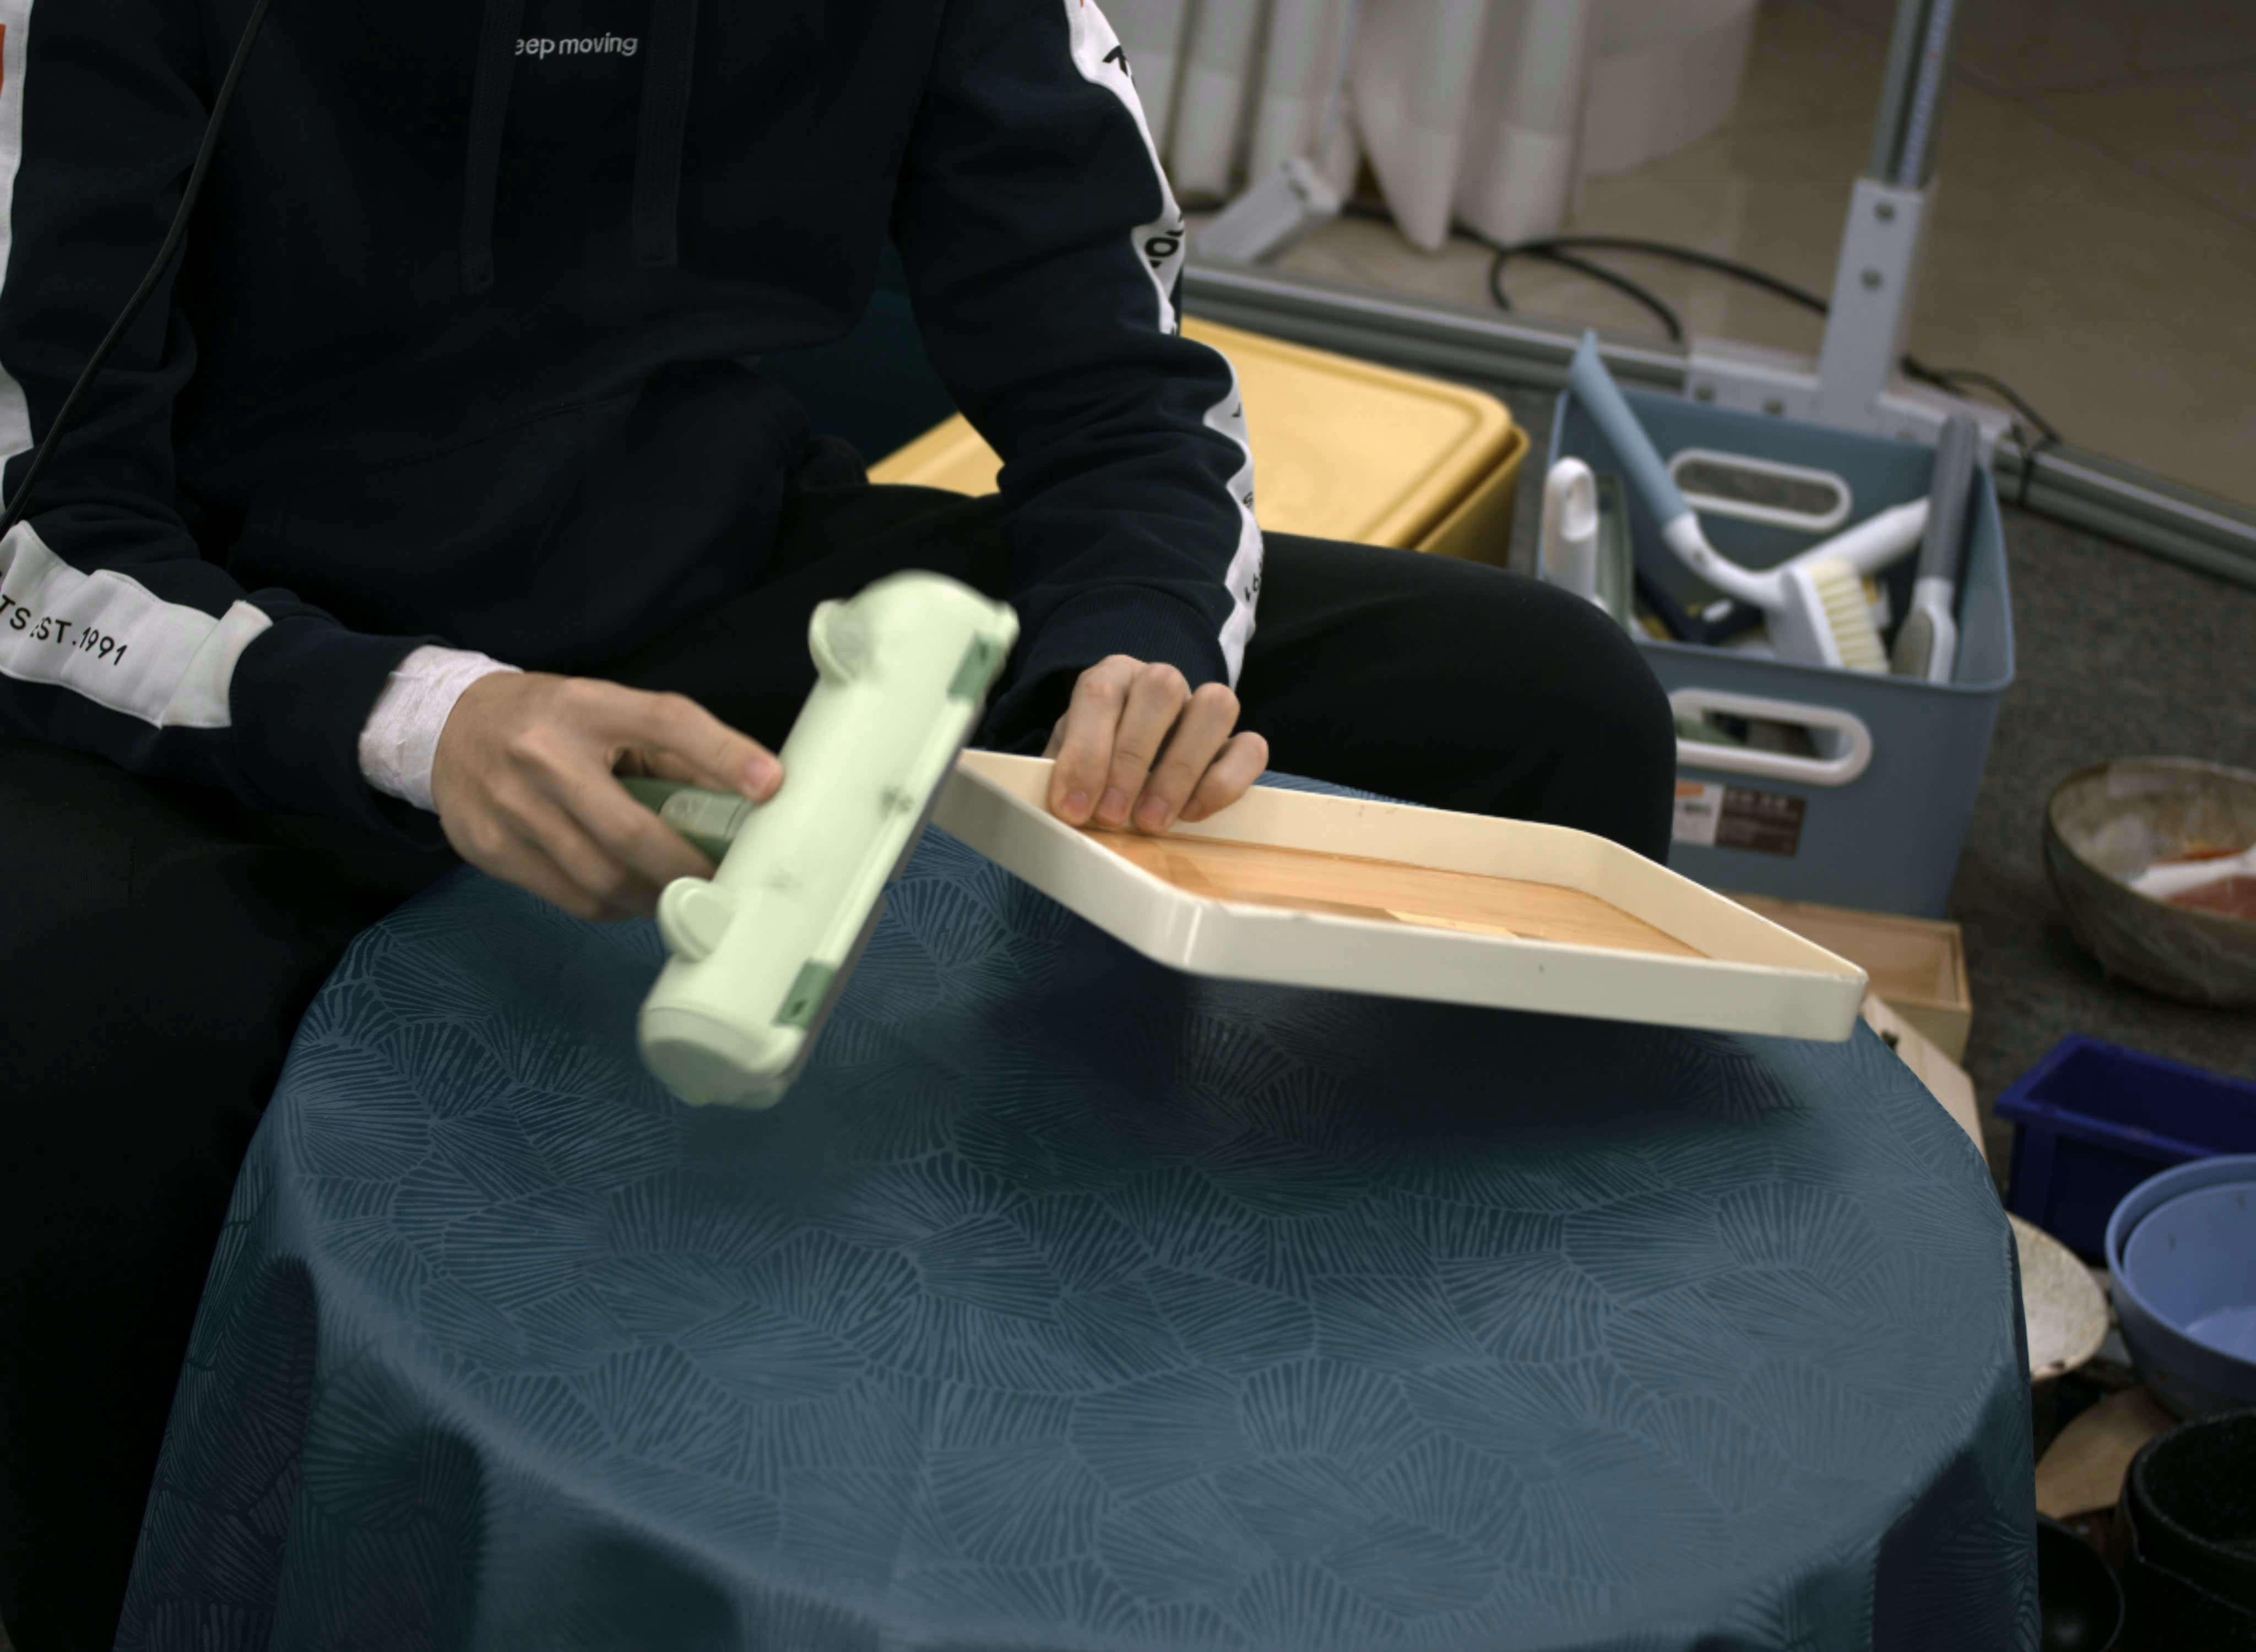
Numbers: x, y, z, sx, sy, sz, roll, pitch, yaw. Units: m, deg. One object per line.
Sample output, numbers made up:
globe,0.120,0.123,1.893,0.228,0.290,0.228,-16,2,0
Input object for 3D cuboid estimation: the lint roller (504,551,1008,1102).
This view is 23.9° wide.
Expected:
lint roller,-0.150,-0.010,1.803,0.184,0.081,0.199,7,60,30

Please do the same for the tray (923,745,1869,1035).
tray,0.094,0.024,1.875,0.298,0.027,0.193,8,11,-31
